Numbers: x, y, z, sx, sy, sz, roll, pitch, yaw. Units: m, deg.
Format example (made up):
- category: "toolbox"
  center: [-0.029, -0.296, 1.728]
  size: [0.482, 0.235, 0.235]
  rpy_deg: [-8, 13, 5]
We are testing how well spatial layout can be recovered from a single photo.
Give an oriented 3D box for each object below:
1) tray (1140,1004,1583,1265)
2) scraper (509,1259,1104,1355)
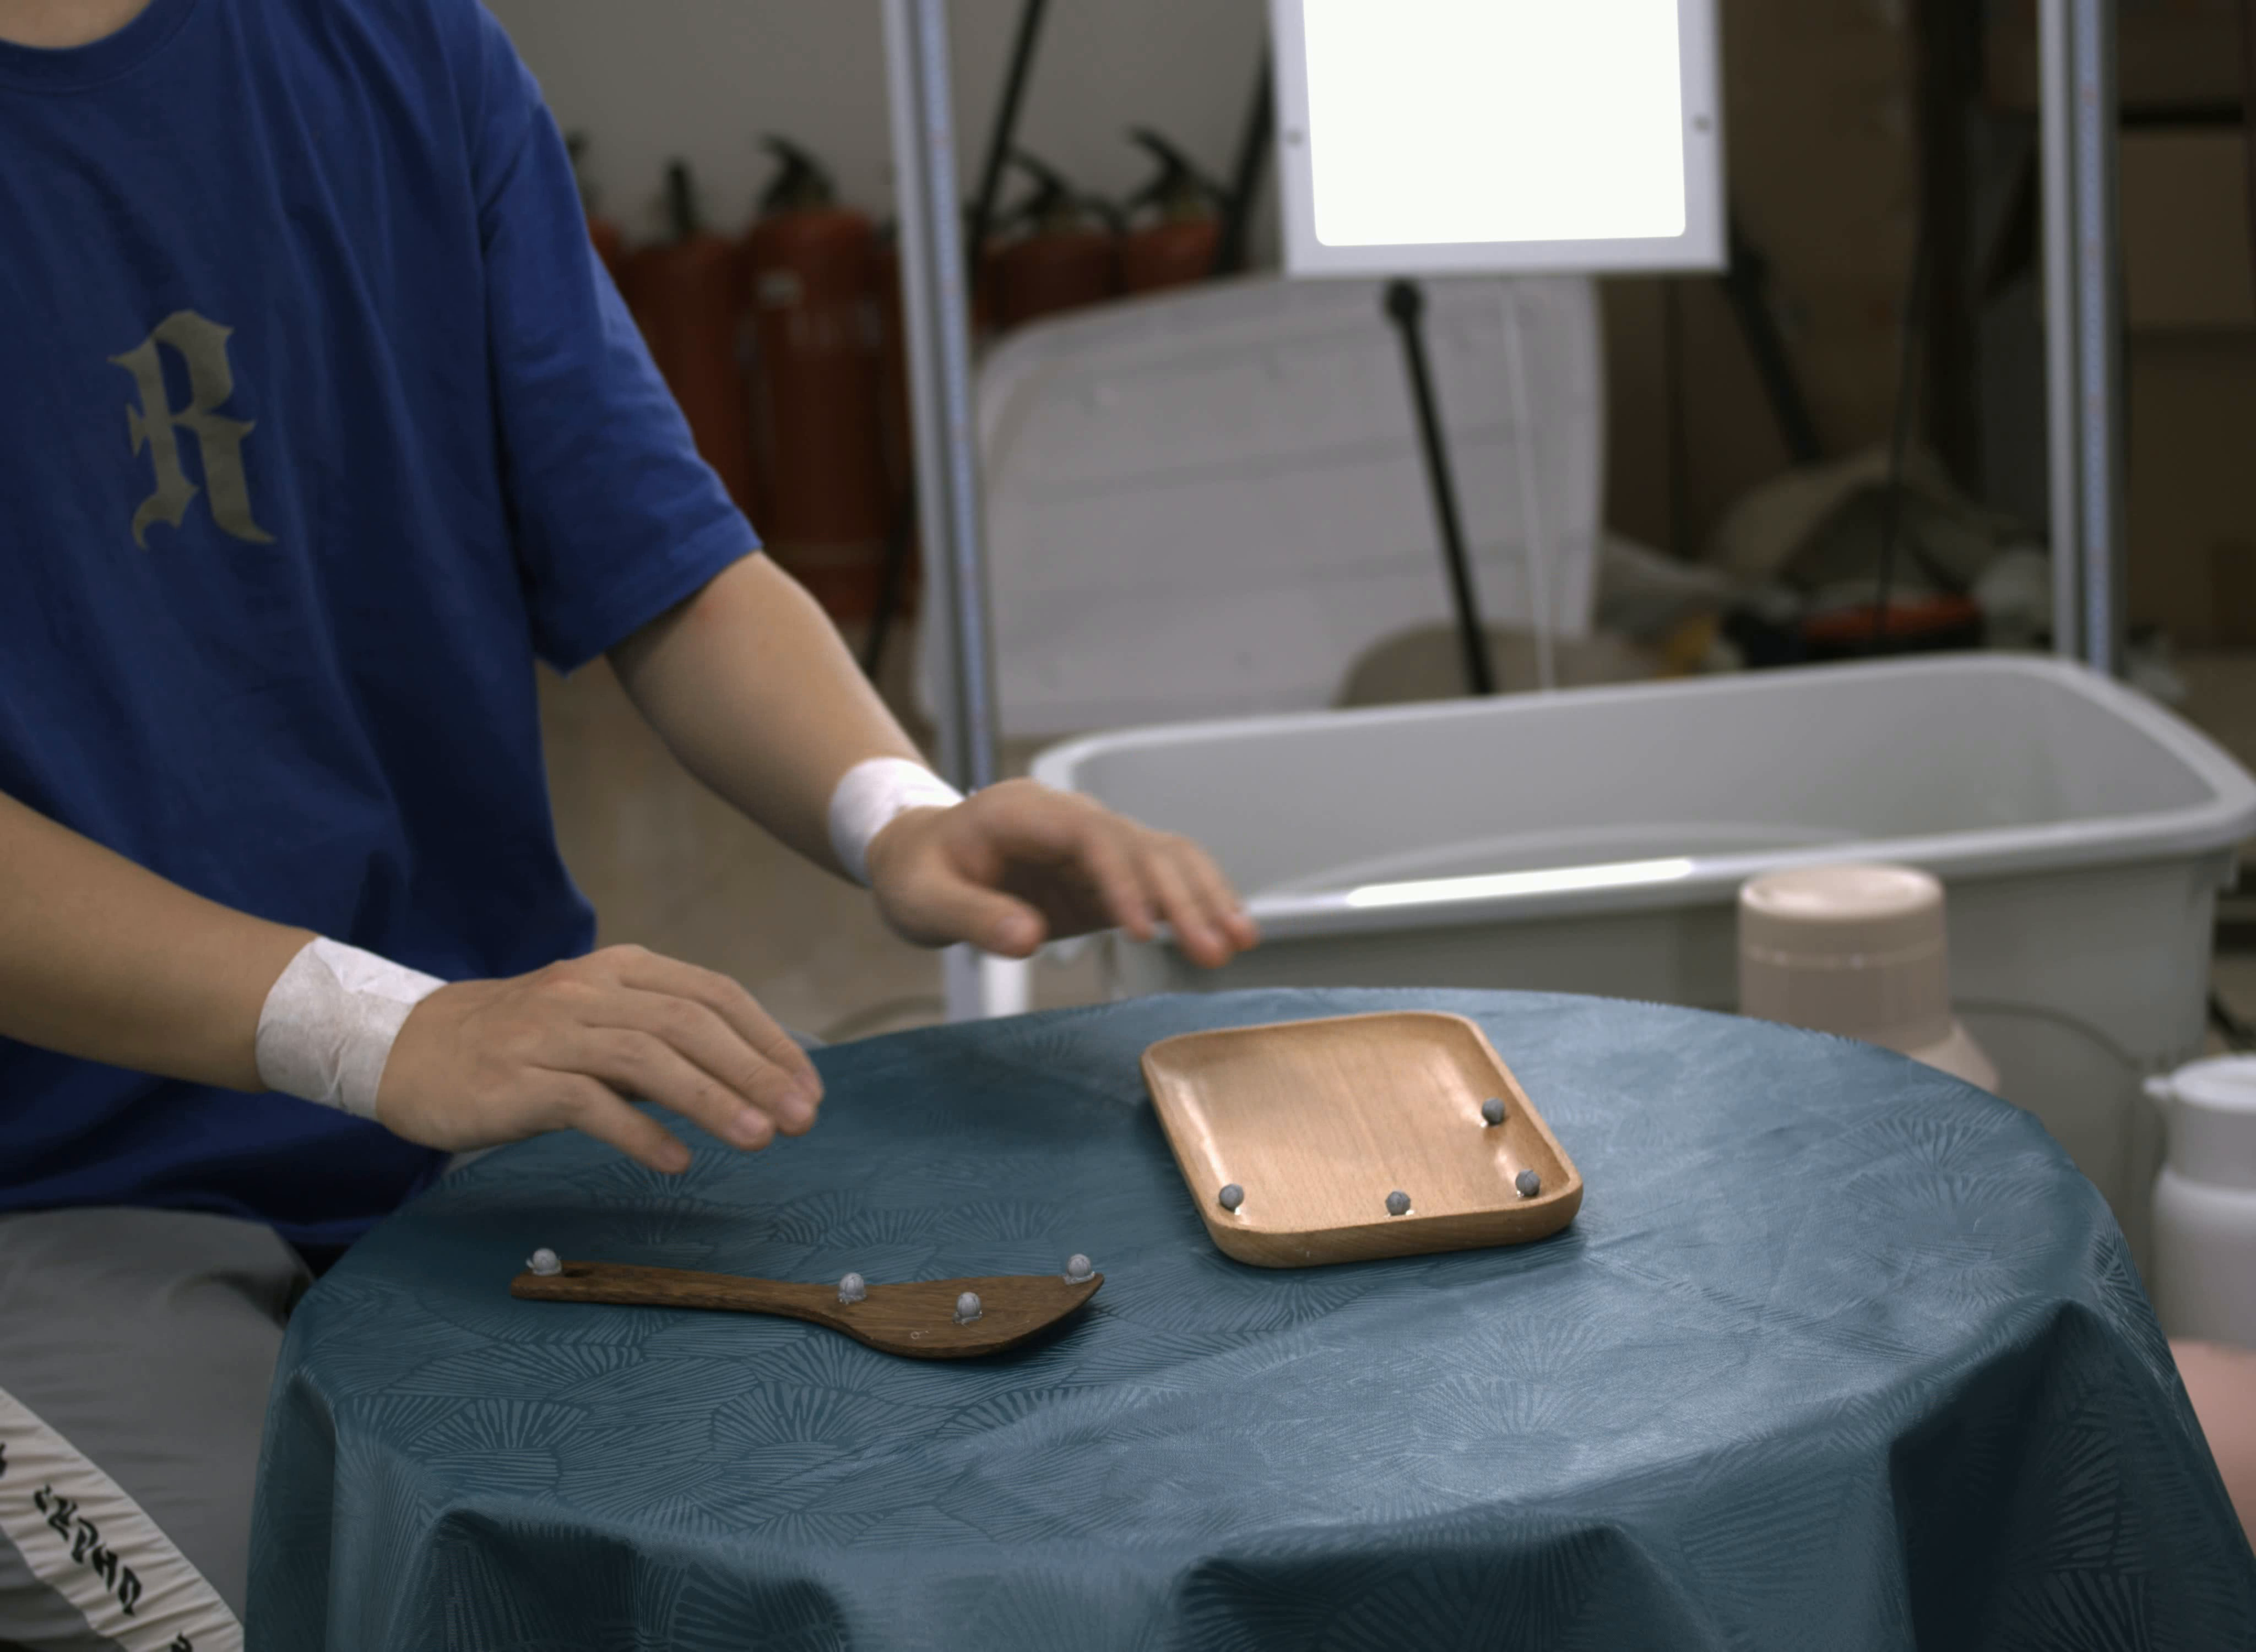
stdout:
- category: "tray"
  center: [0.078, 0.105, 1.918]
  size: [0.130, 0.023, 0.251]
  rpy_deg: [-3, 13, -4]
- category: "scraper"
  center: [-0.110, 0.154, 1.806]
  size: [0.215, 0.011, 0.074]
  rpy_deg: [2, 15, 29]
